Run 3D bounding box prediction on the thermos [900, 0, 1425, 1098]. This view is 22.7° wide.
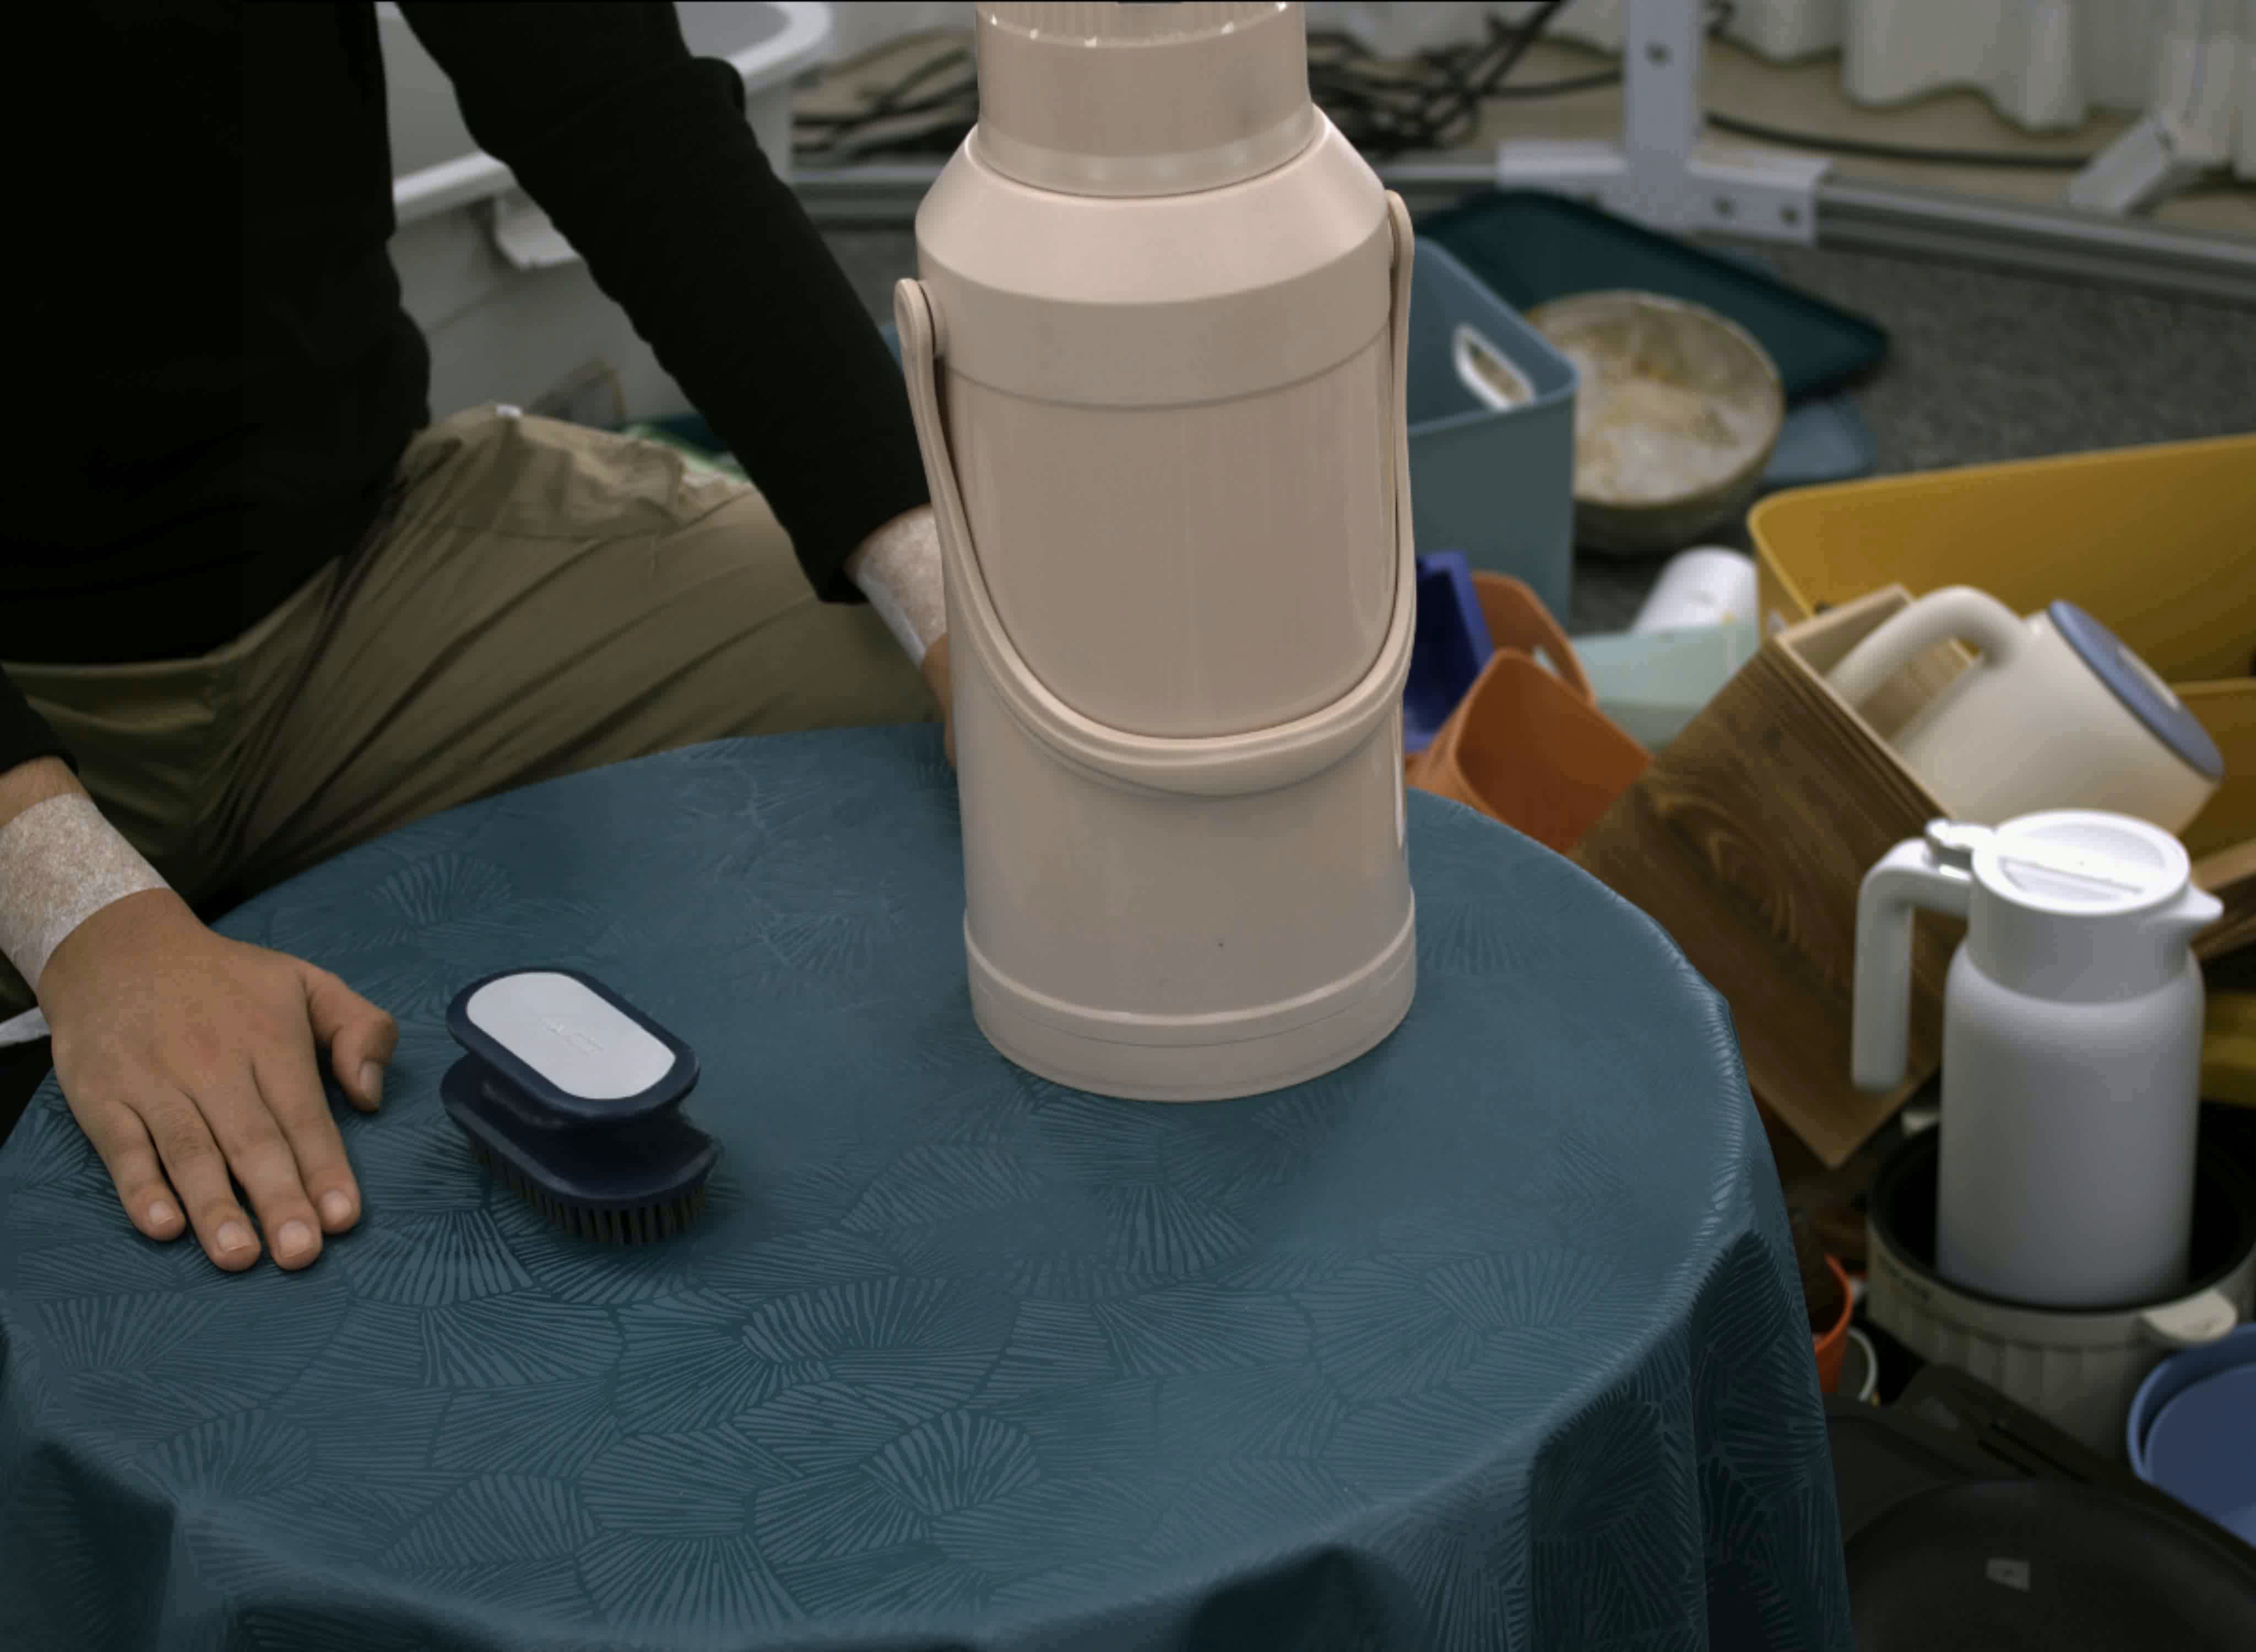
[{"bbox_3d":[0.011,-0.125,1.910,0.176,0.402,0.209,-13,28,-16],"label":"thermos"}]

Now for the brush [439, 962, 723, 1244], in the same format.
[{"bbox_3d":[-0.183,0.094,1.872,0.068,0.060,0.122,-16,30,-31],"label":"brush"}]
